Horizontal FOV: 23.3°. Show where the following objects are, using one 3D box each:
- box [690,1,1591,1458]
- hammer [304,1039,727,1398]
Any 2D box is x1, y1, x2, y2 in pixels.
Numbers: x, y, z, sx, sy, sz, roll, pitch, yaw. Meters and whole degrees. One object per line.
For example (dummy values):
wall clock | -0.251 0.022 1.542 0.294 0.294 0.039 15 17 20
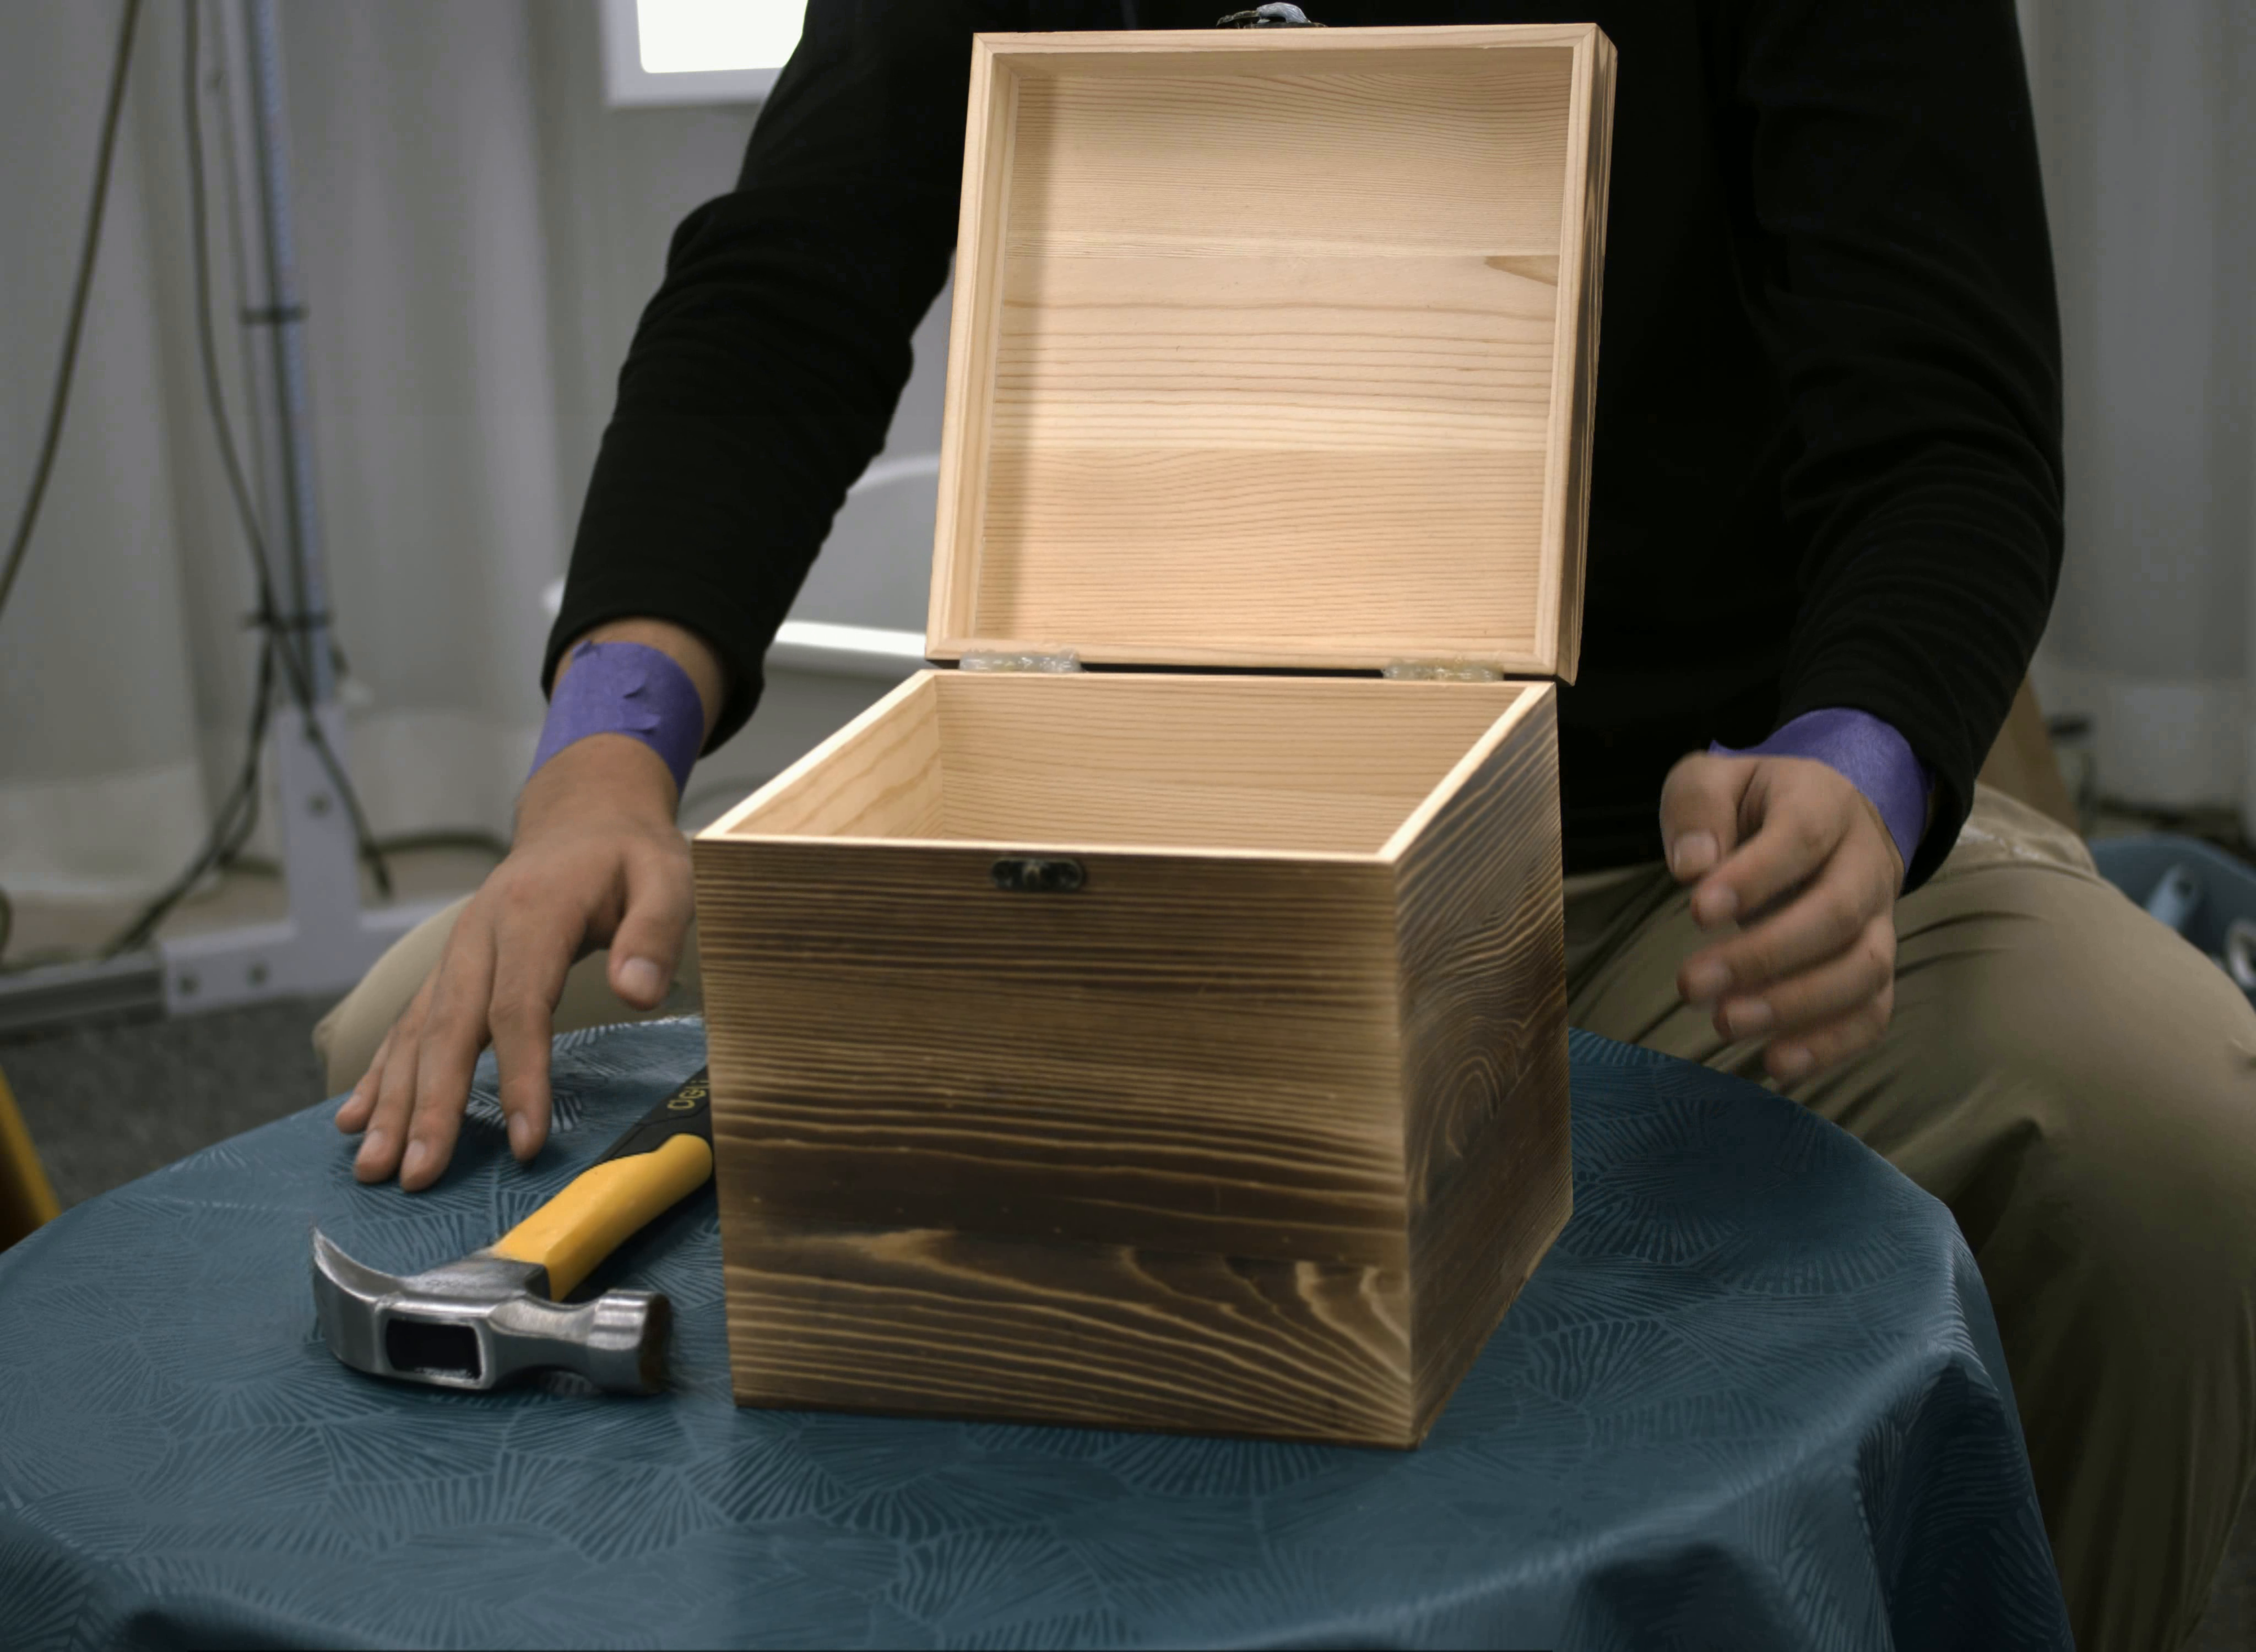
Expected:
box | 0.017 -0.043 1.616 0.208 0.374 0.323 1 13 17
hammer | -0.147 0.103 1.717 0.131 0.032 0.340 2 17 19
